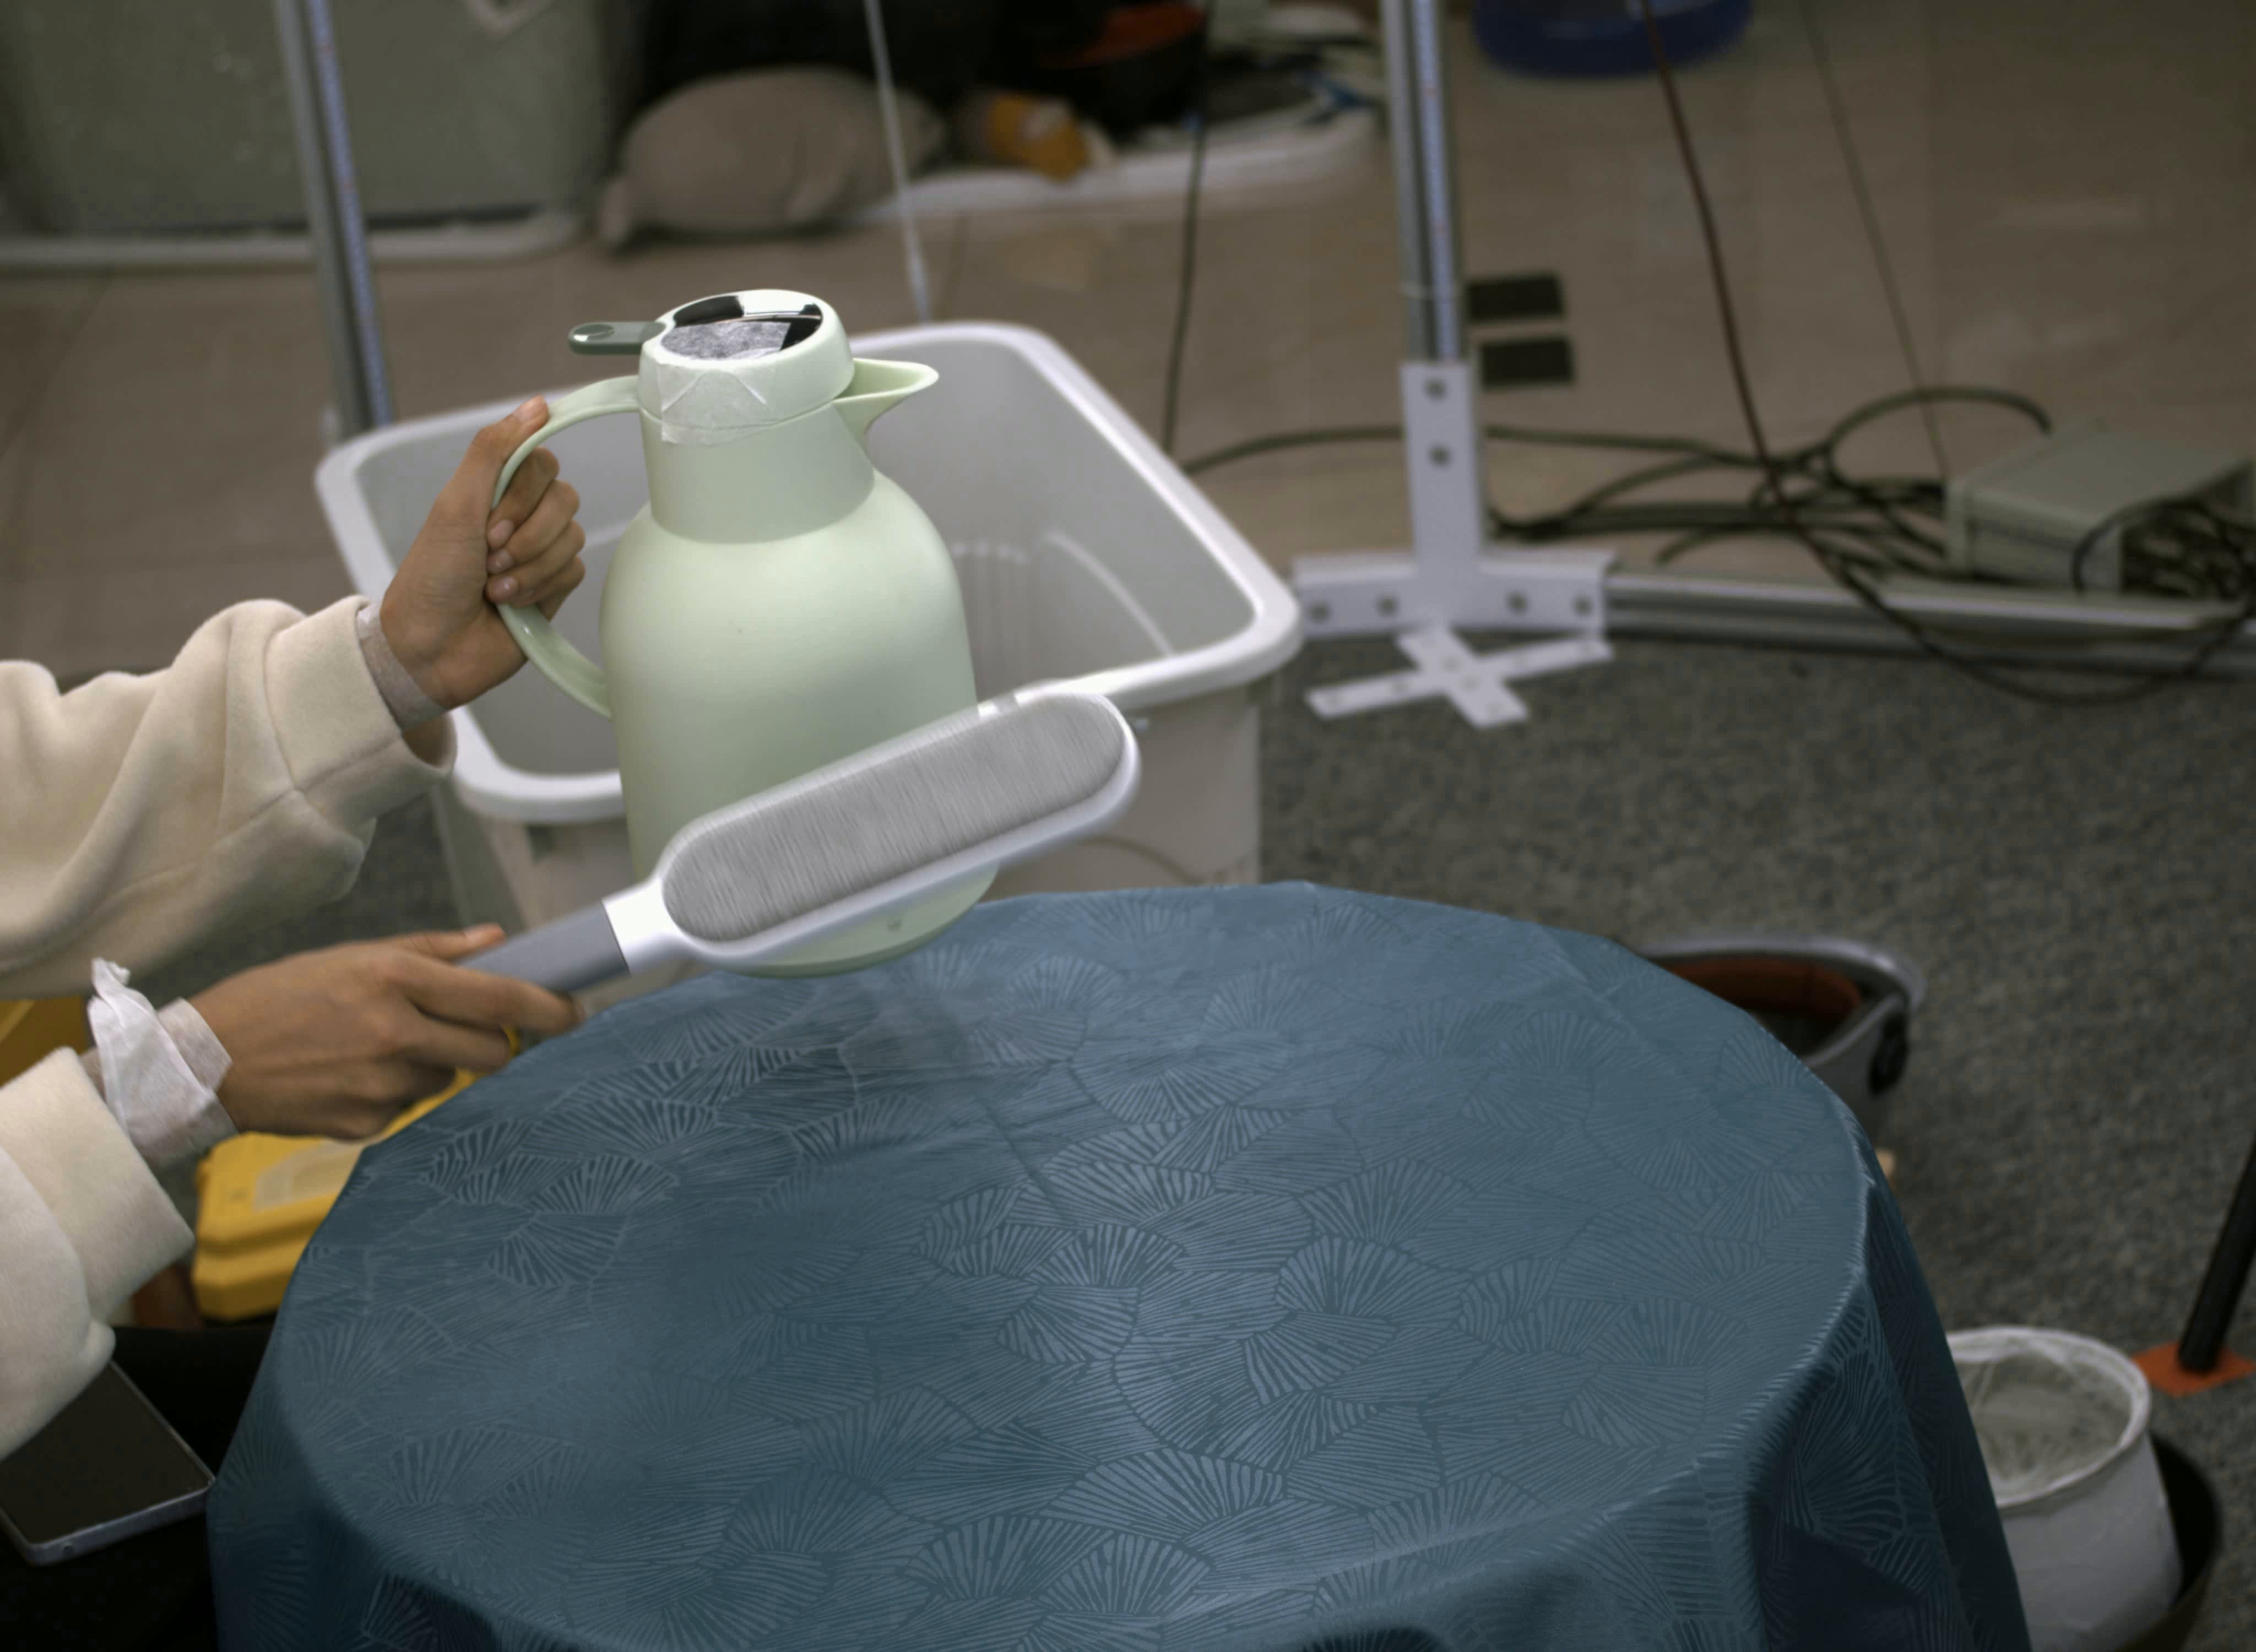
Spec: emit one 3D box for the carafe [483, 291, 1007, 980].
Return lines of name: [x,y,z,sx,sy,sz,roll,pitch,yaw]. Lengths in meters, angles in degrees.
carafe: [-0.147,-0.078,2.186,0.186,0.261,0.142,-5,31,11]

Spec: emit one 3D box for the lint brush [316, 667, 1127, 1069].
lint brush: [-0.144,0.017,2.010,0.308,0.021,0.059,-23,66,-2]
